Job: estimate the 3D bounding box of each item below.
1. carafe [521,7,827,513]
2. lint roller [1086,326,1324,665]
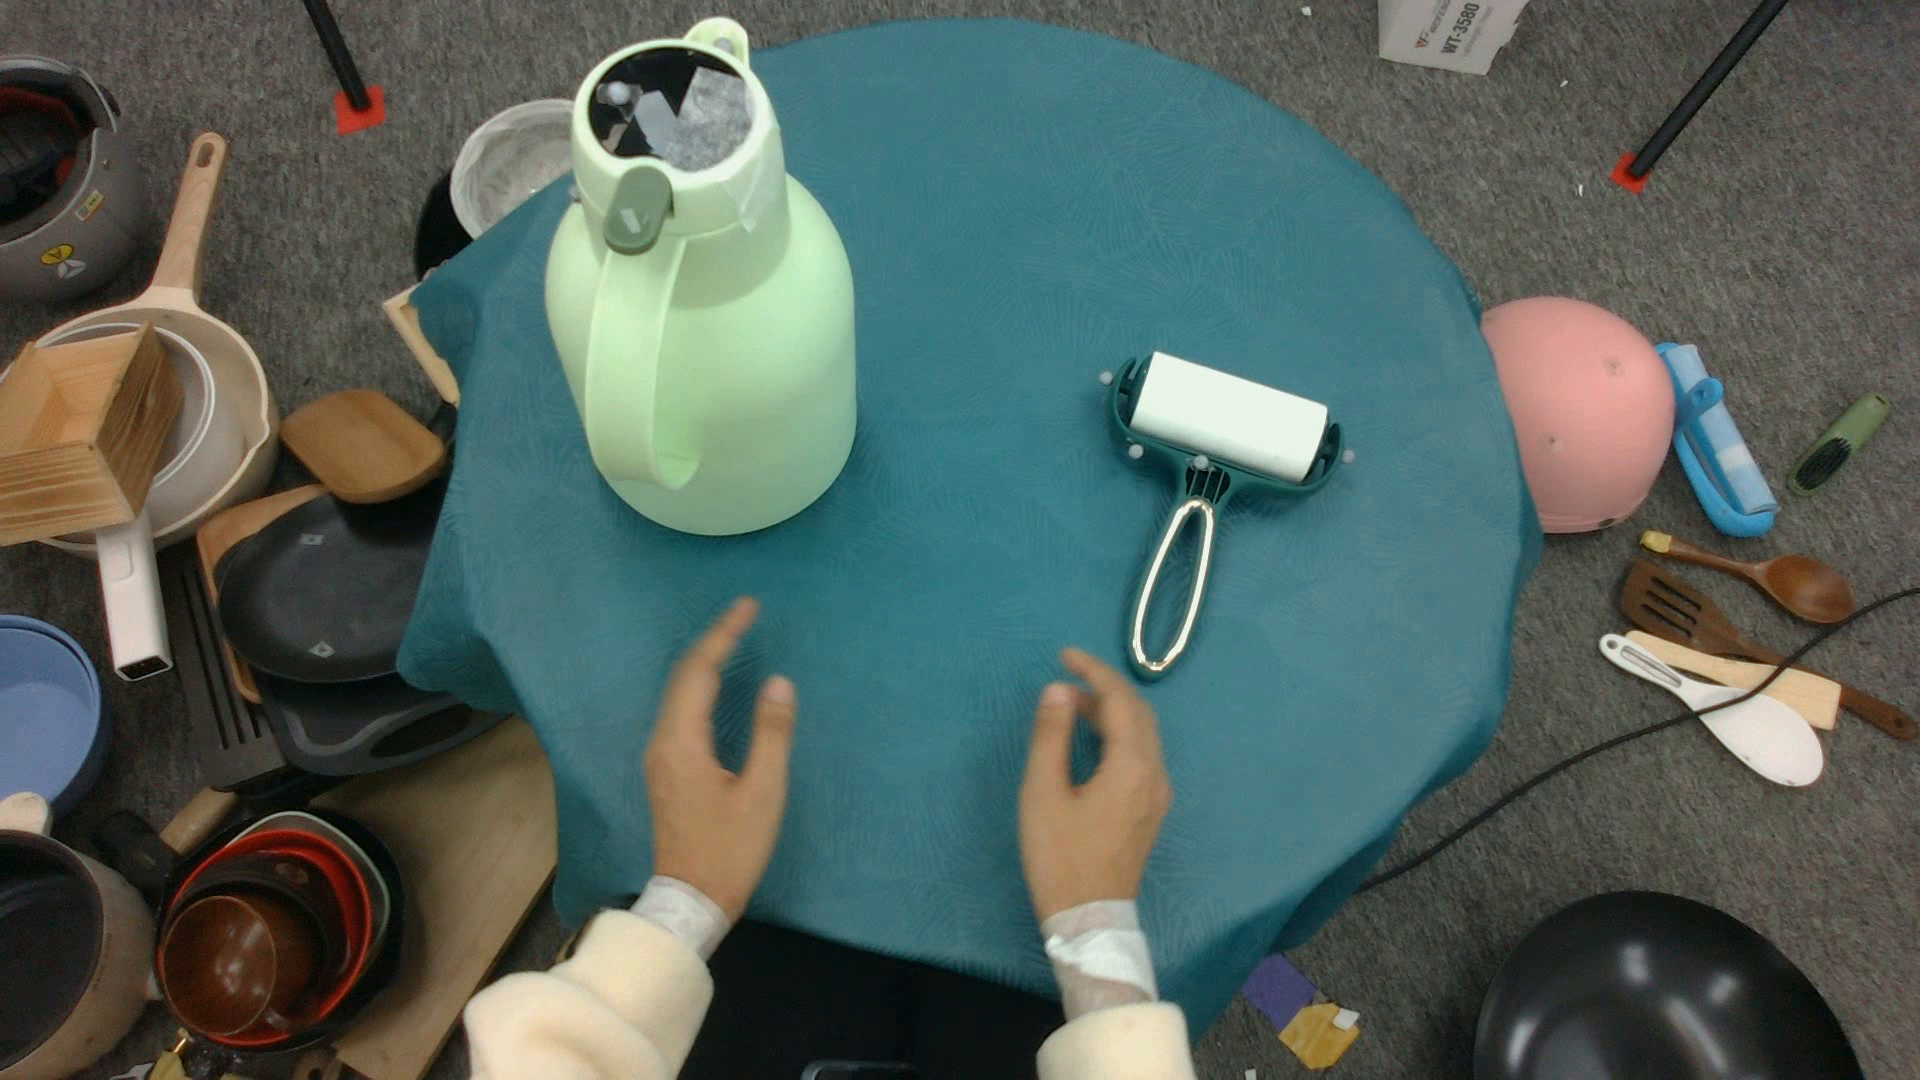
[{"bbox_3d":[-0.136,-0.109,0.642,0.144,0.256,0.187,13,69,-2],"label":"carafe"},{"bbox_3d":[0.115,-0.021,0.739,0.134,0.048,0.181,19,65,4],"label":"lint roller"}]
